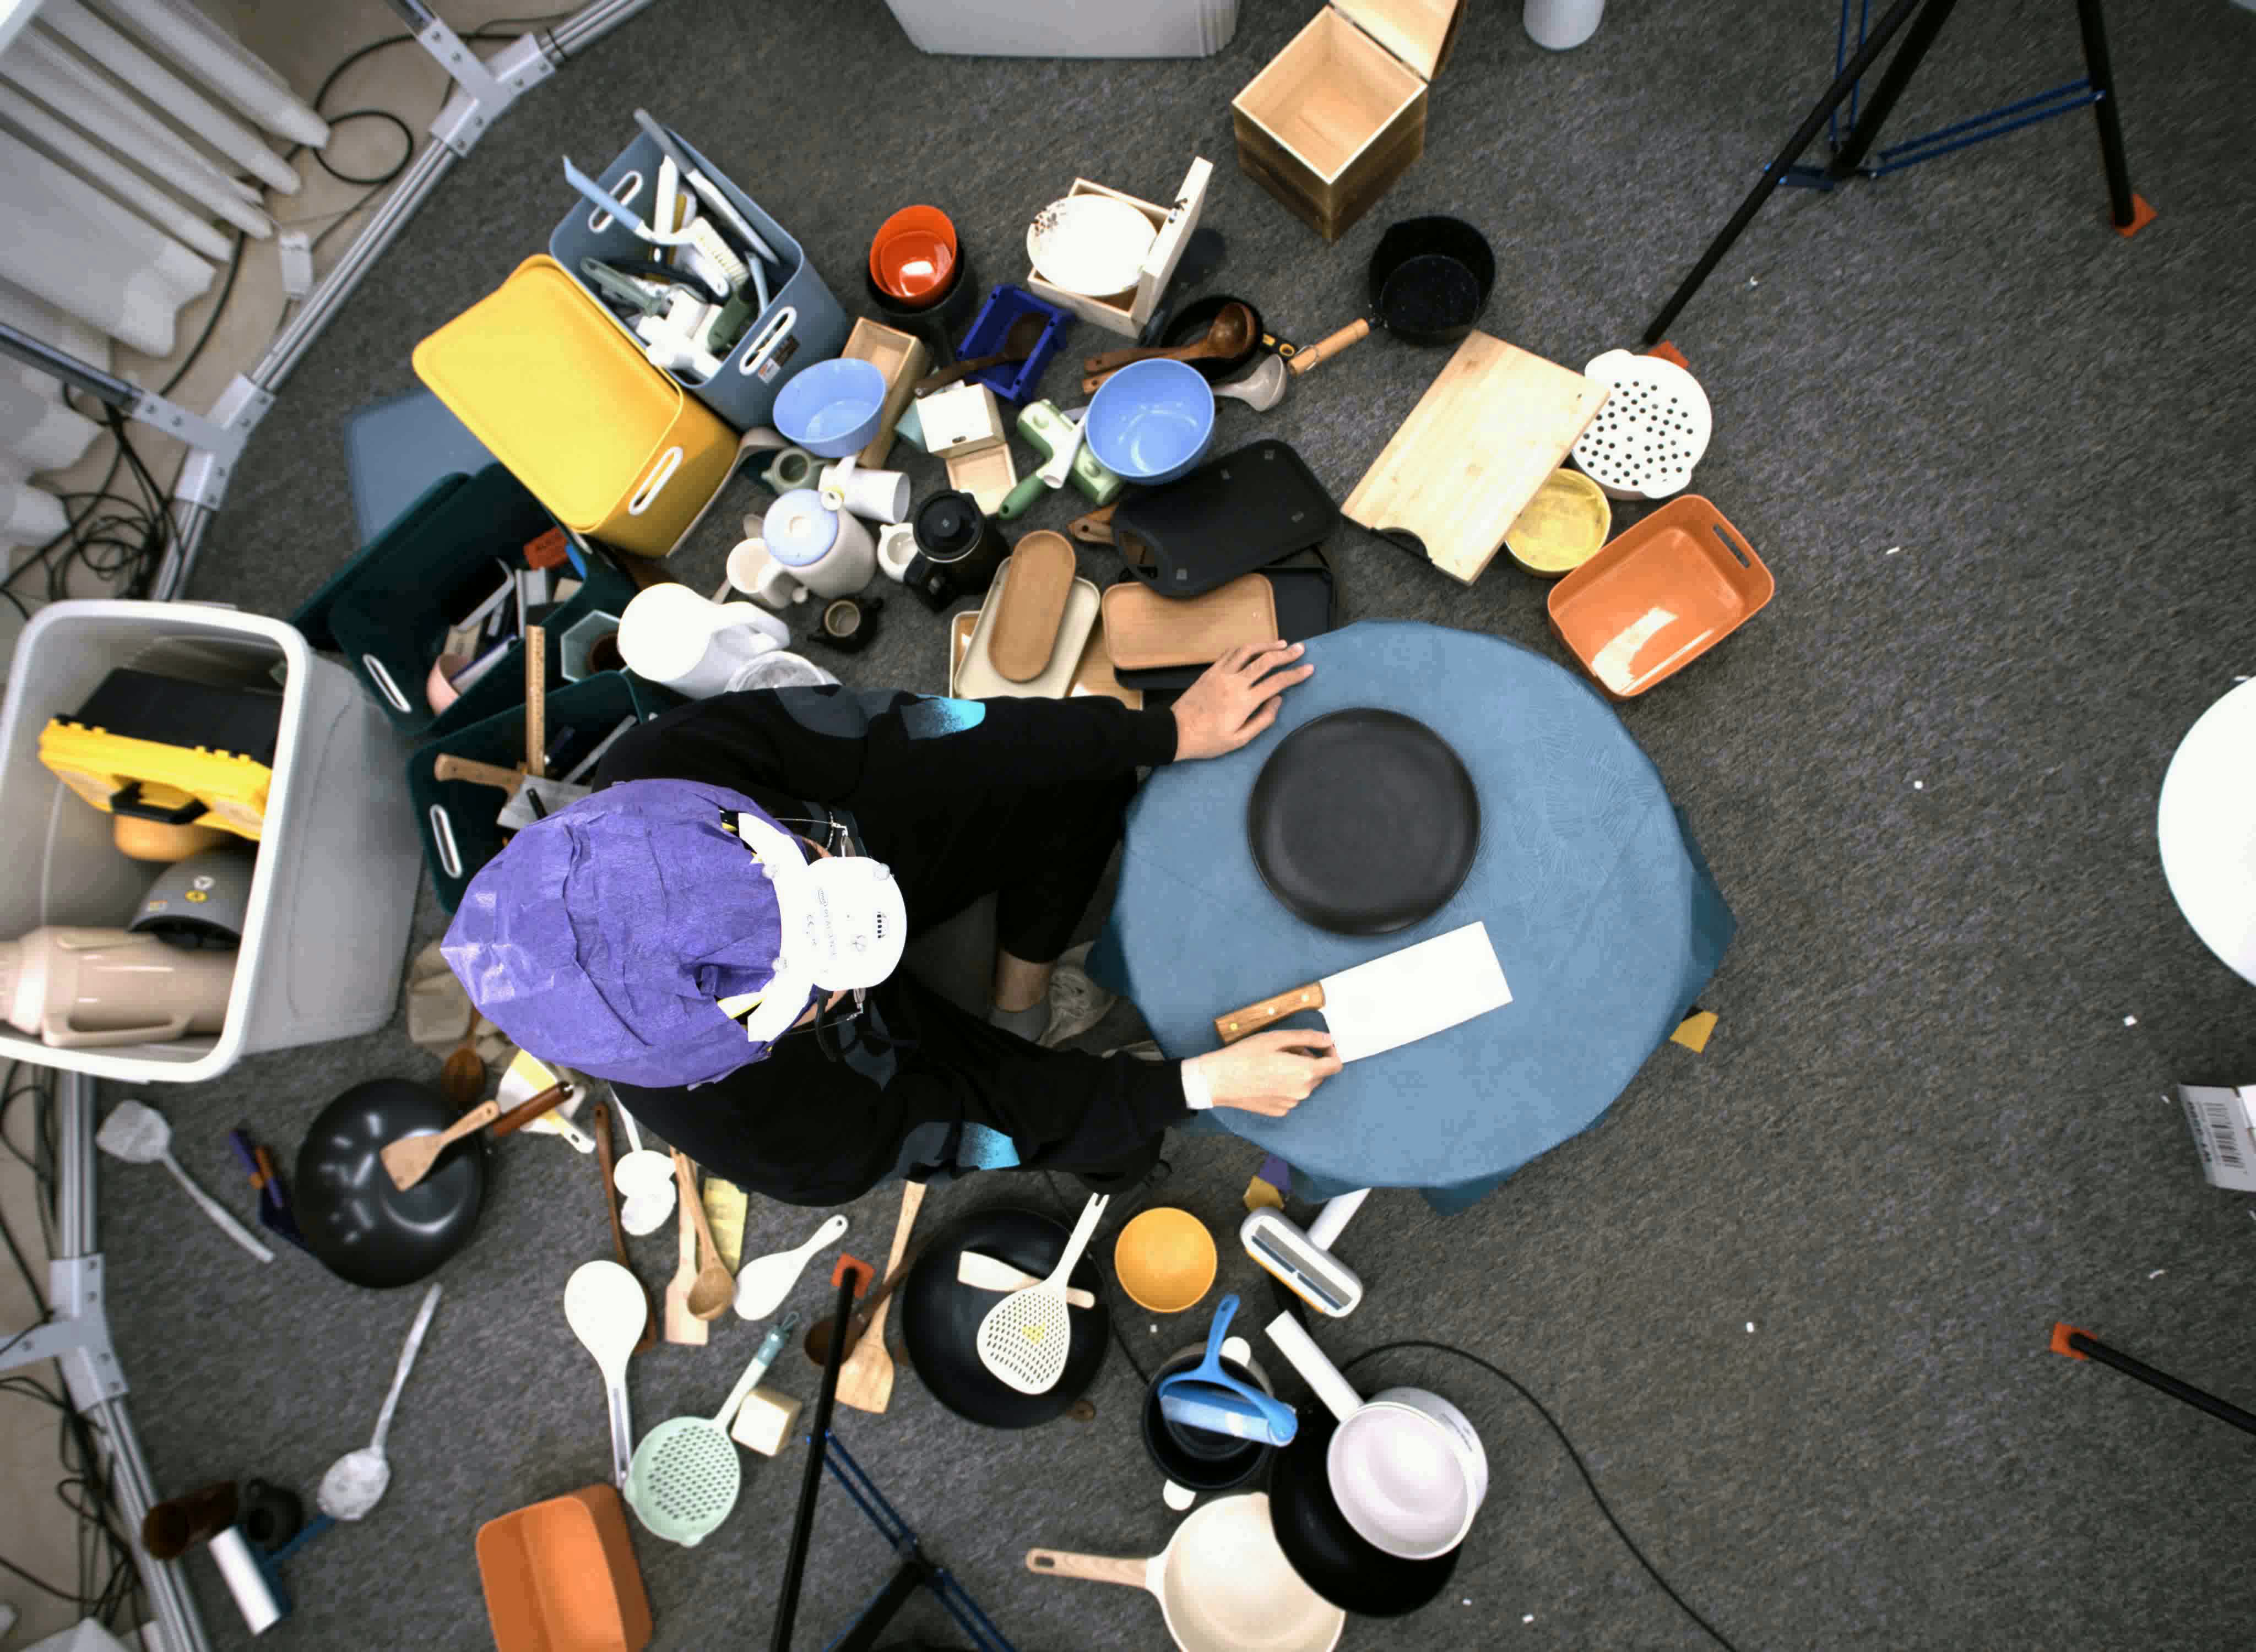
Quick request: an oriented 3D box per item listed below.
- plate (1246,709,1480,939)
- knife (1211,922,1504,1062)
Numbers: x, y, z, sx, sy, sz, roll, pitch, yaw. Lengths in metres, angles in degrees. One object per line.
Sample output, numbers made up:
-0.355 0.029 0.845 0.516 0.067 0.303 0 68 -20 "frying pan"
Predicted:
0.247 -0.003 1.456 0.245 0.023 0.243 -1 87 10 "plate"
0.242 0.191 1.451 0.307 0.021 0.092 -21 85 6 "knife"
